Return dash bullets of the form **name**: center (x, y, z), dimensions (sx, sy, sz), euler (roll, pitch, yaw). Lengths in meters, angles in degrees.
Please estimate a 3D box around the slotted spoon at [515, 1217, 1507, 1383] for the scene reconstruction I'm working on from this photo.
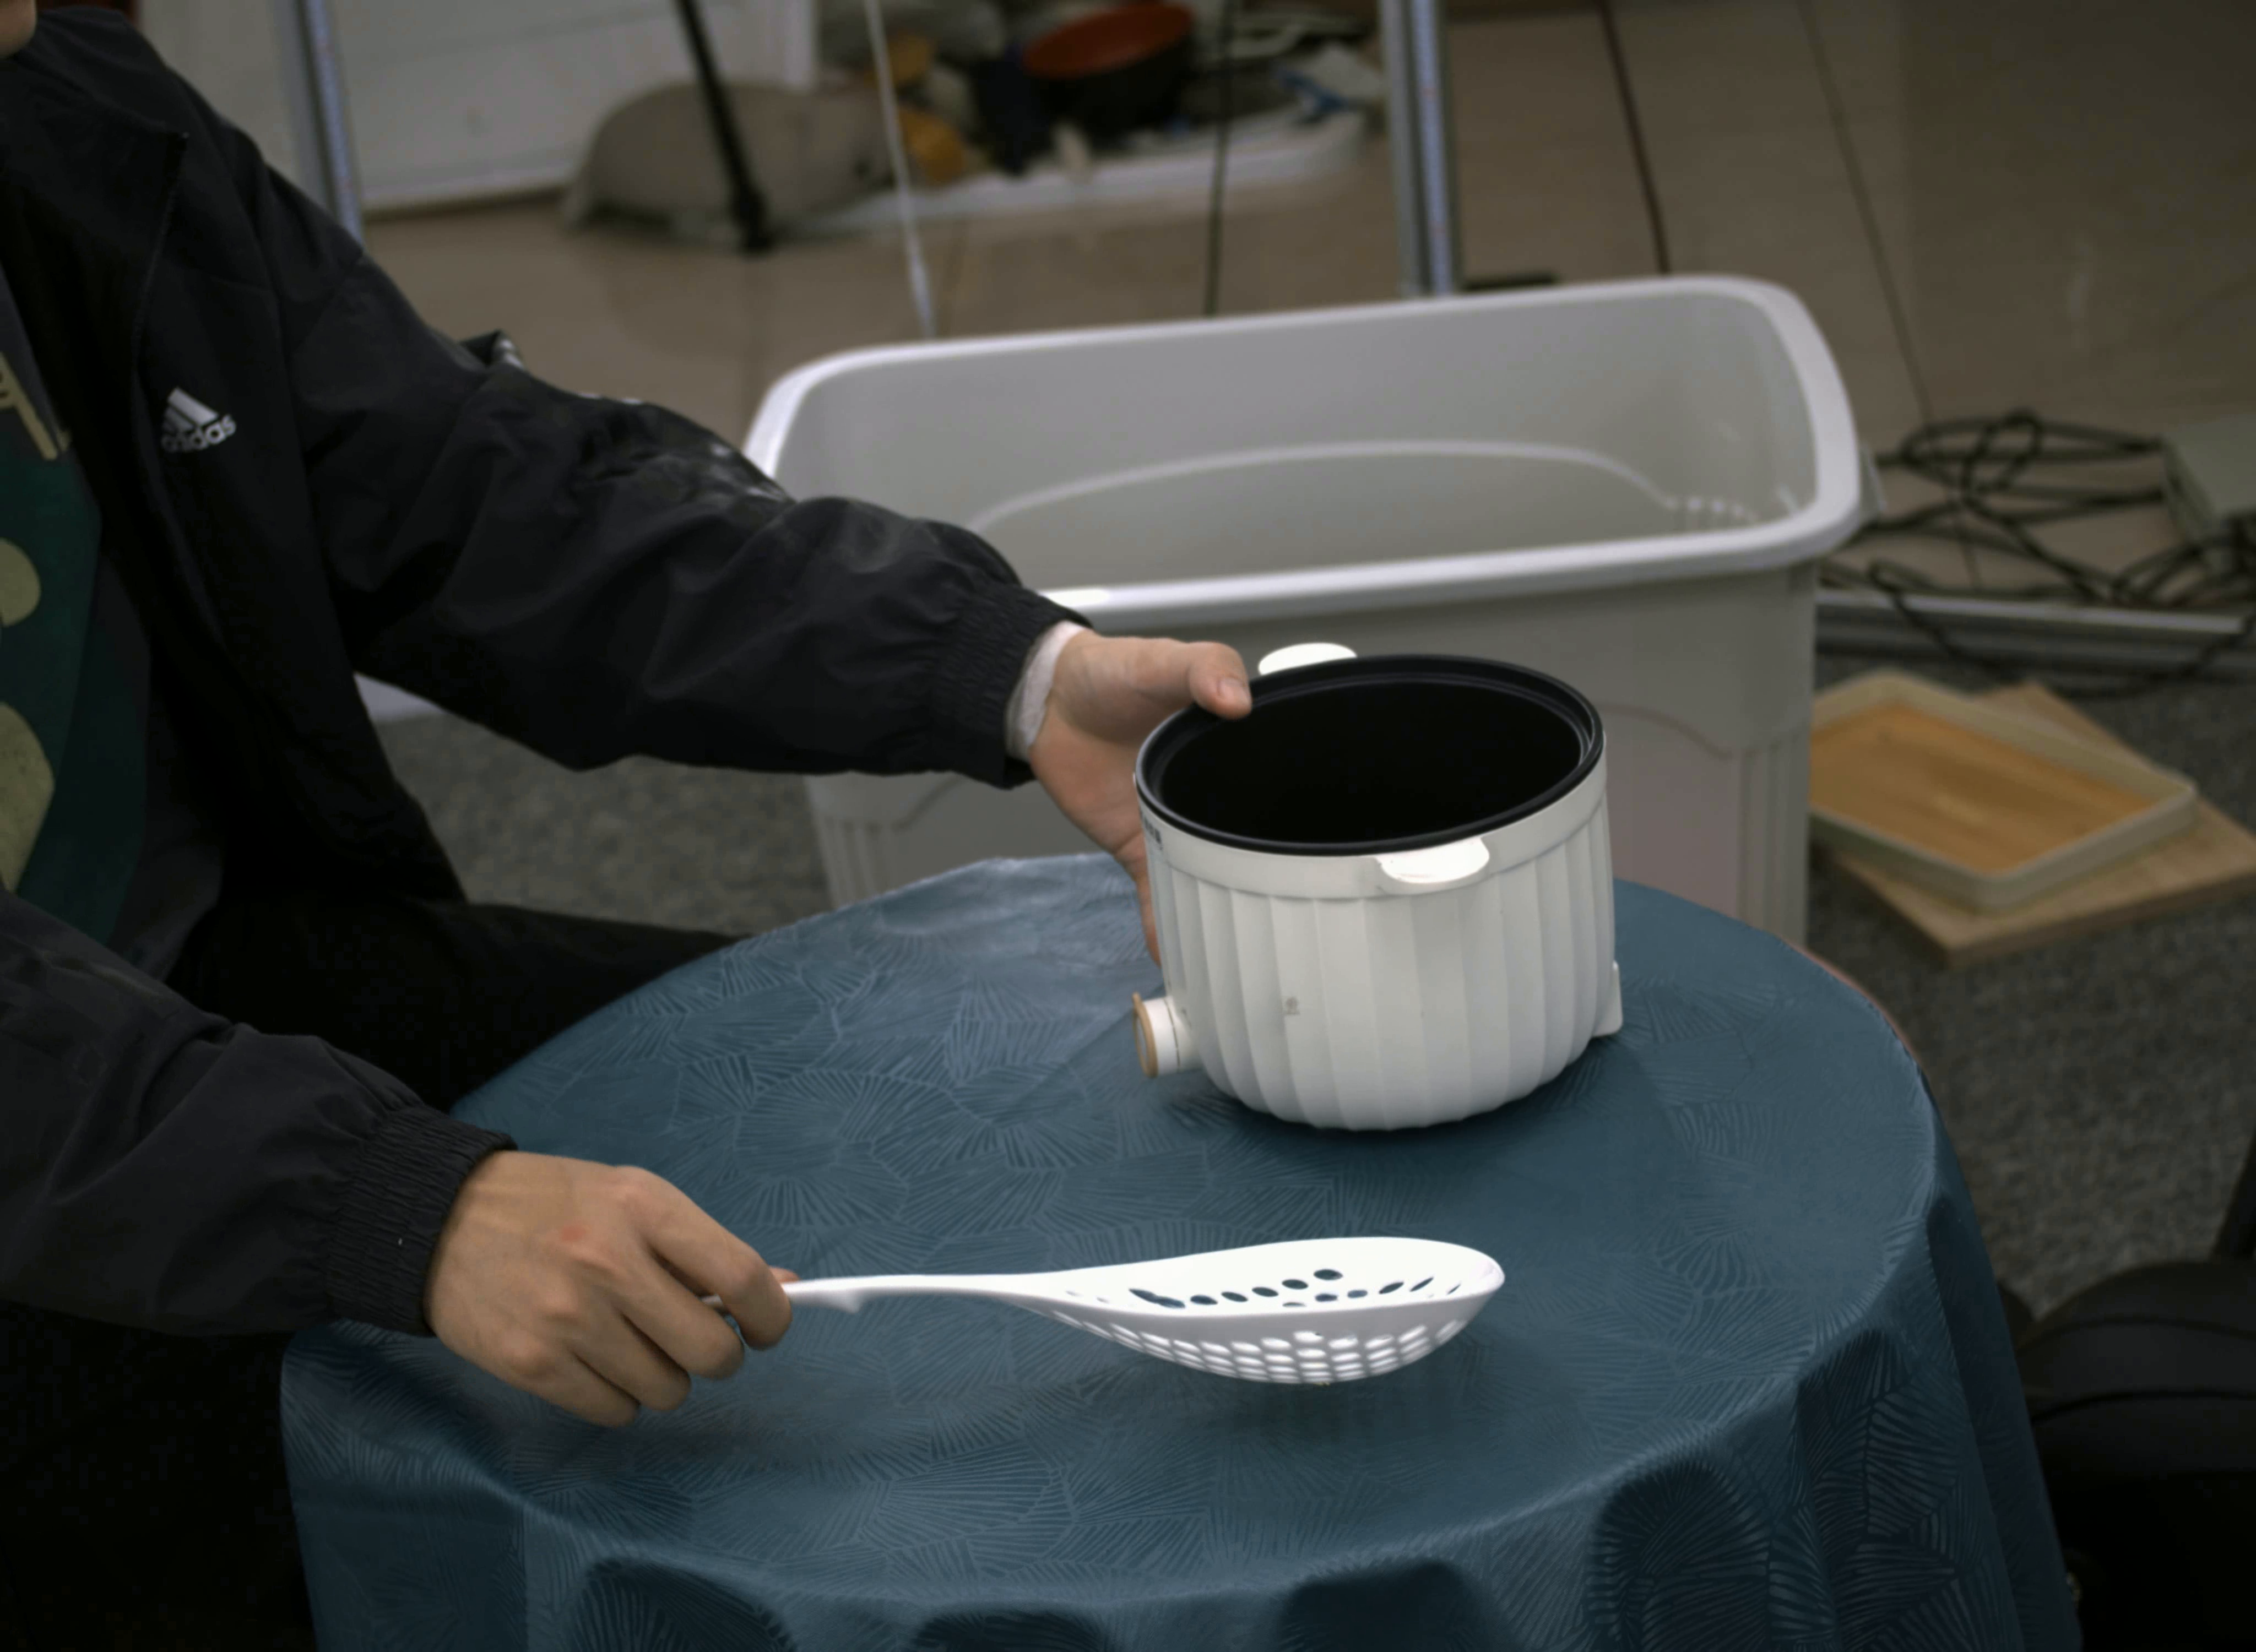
- **slotted spoon**: center (-0.041, 0.171, 1.987), dimensions (0.347, 0.050, 0.136), euler (1, 8, 3)

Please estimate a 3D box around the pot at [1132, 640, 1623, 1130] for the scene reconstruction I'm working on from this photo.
- **pot**: center (0.094, 0.031, 2.189), dimensions (0.190, 0.145, 0.237), euler (-8, 24, -10)
